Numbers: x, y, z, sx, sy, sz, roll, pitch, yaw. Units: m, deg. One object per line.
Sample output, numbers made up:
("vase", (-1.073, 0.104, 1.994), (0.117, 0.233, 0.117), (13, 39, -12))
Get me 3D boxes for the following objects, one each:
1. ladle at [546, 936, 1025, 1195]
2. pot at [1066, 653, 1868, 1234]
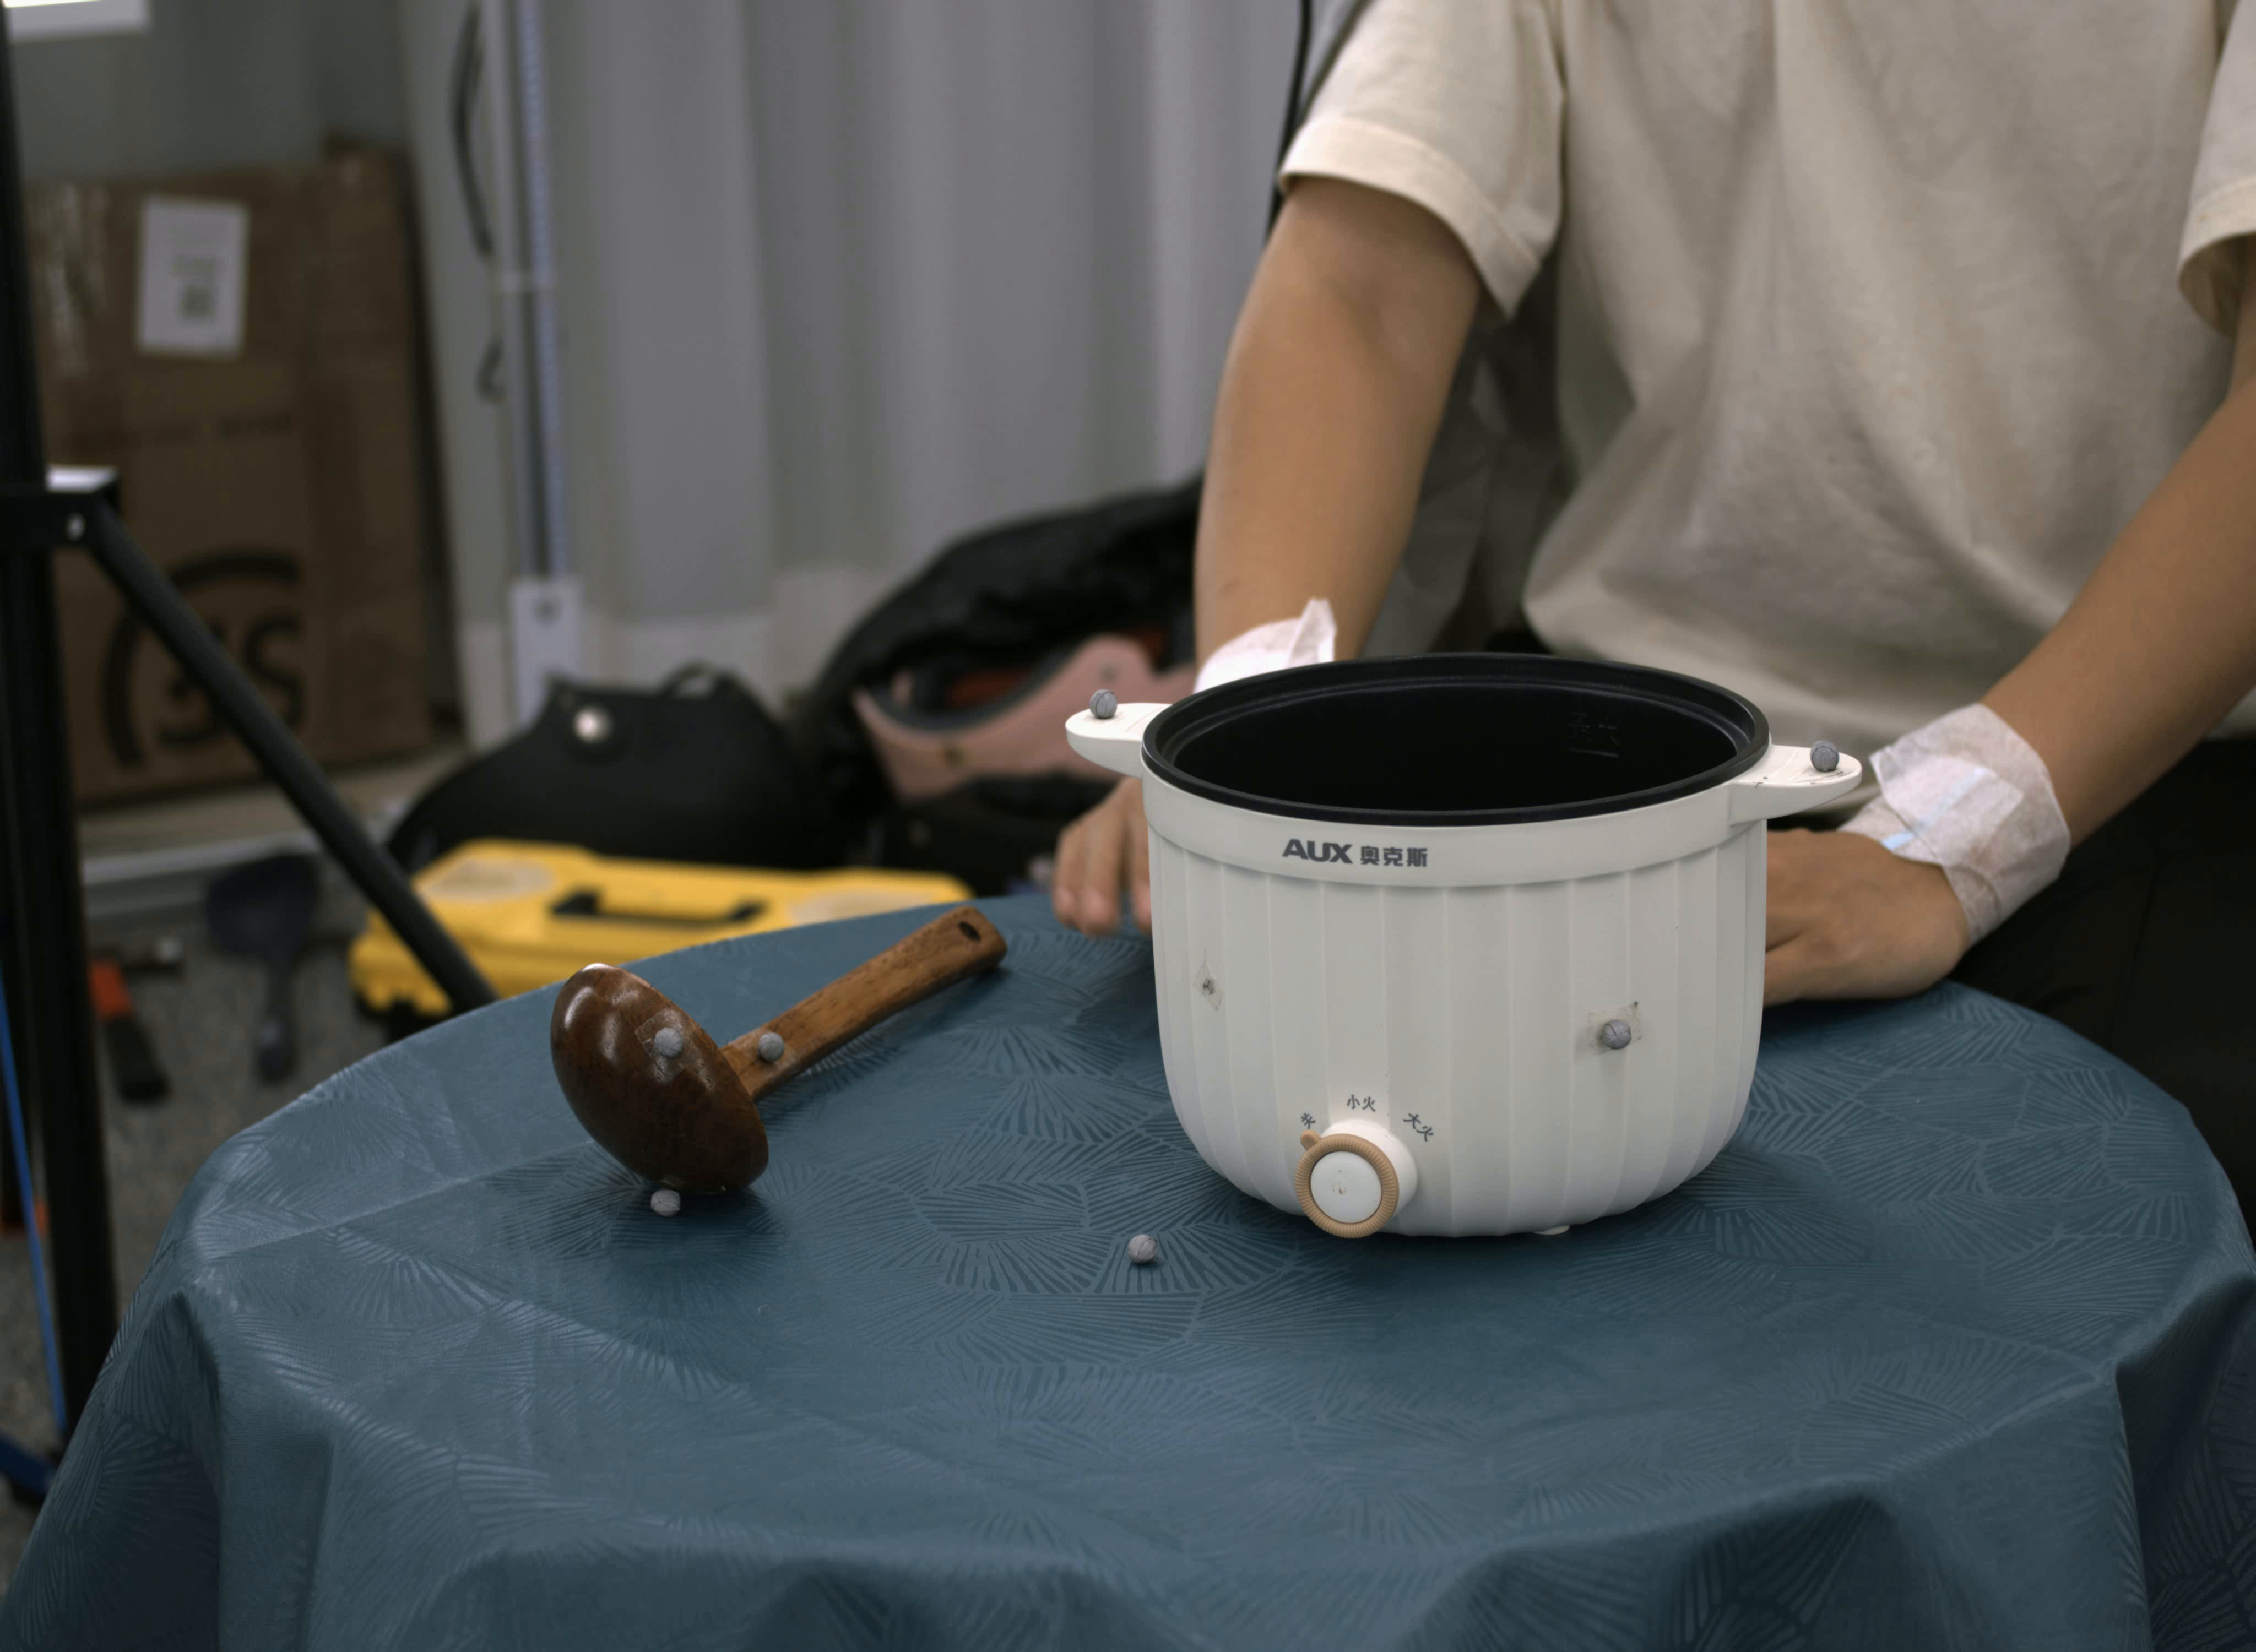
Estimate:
("ladle", (-0.090, 0.052, 1.651), (0.077, 0.082, 0.269), (-45, -11, 31))
("pot", (0.095, 0.037, 1.537), (0.243, 0.143, 0.188), (3, 12, 23))
